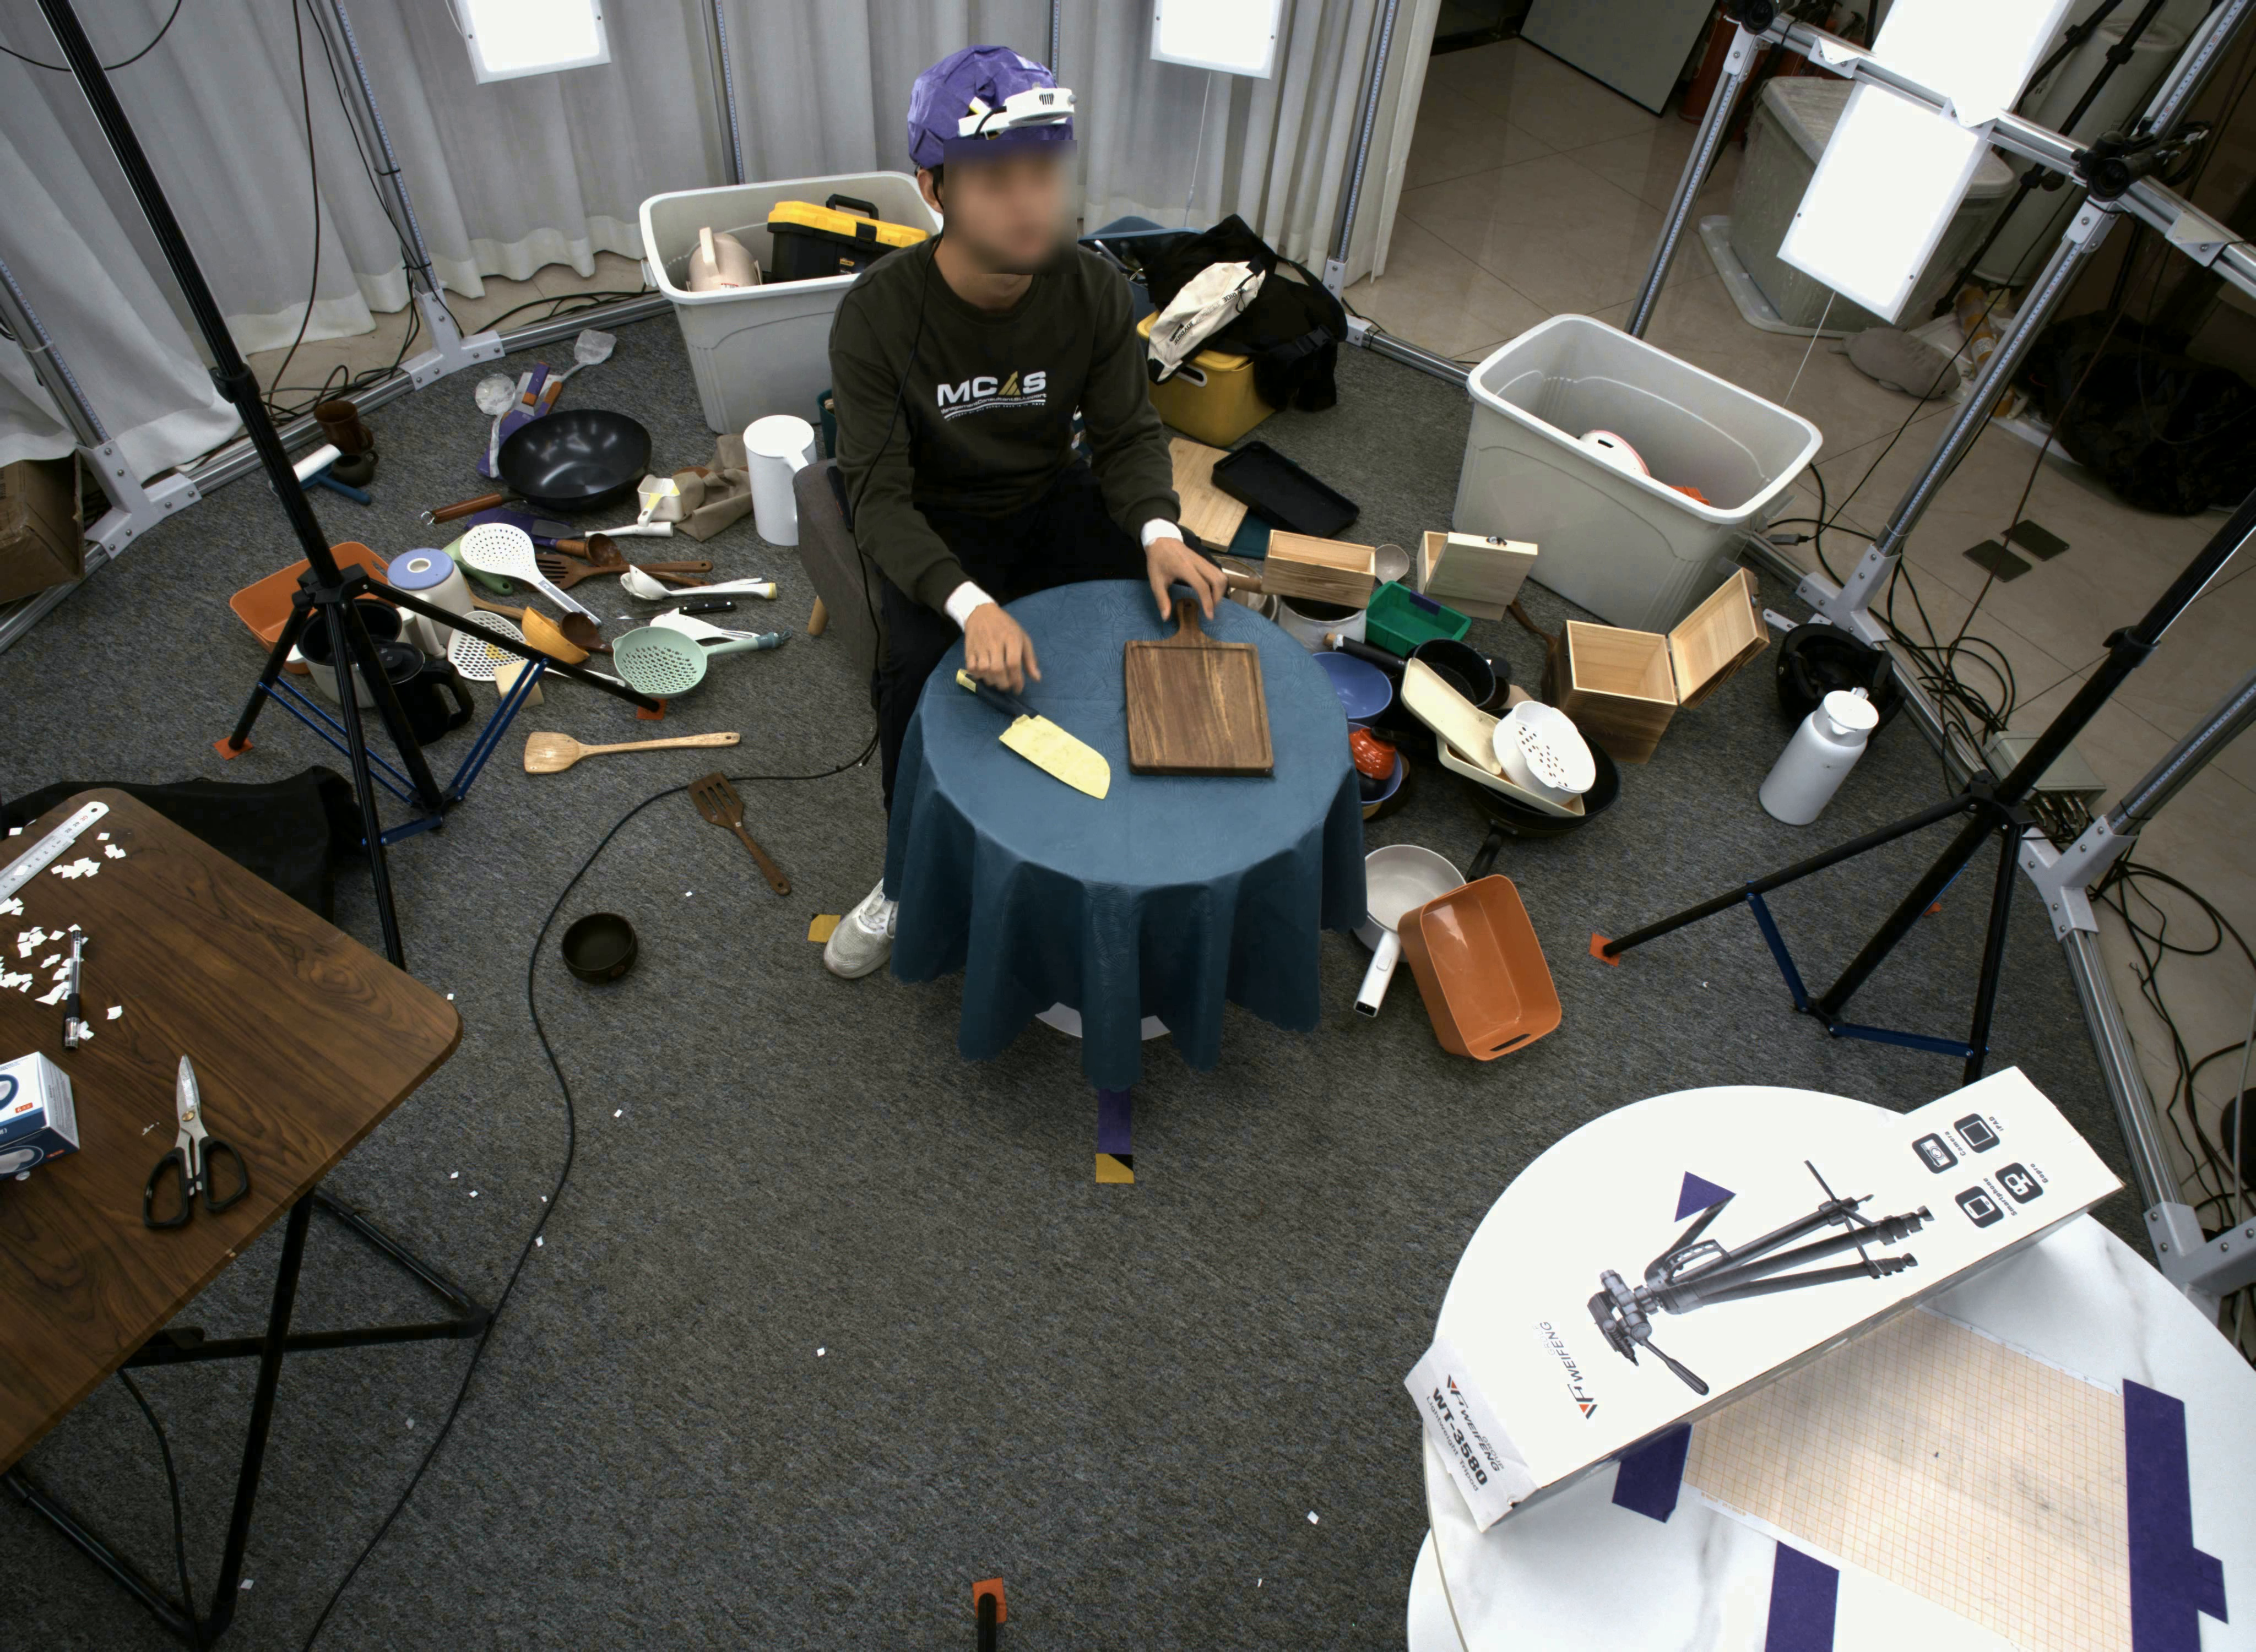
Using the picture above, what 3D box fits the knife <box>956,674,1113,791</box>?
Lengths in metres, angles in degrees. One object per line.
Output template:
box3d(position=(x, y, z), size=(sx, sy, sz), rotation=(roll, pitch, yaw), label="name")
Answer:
box3d(position=(-0.135, -0.128, 1.759), size=(0.293, 0.026, 0.082), rotation=(35, 53, 22), label="knife")

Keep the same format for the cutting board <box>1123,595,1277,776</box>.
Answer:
box3d(position=(0.095, -0.208, 1.840), size=(0.201, 0.022, 0.361), rotation=(1, 49, -4), label="cutting board")
